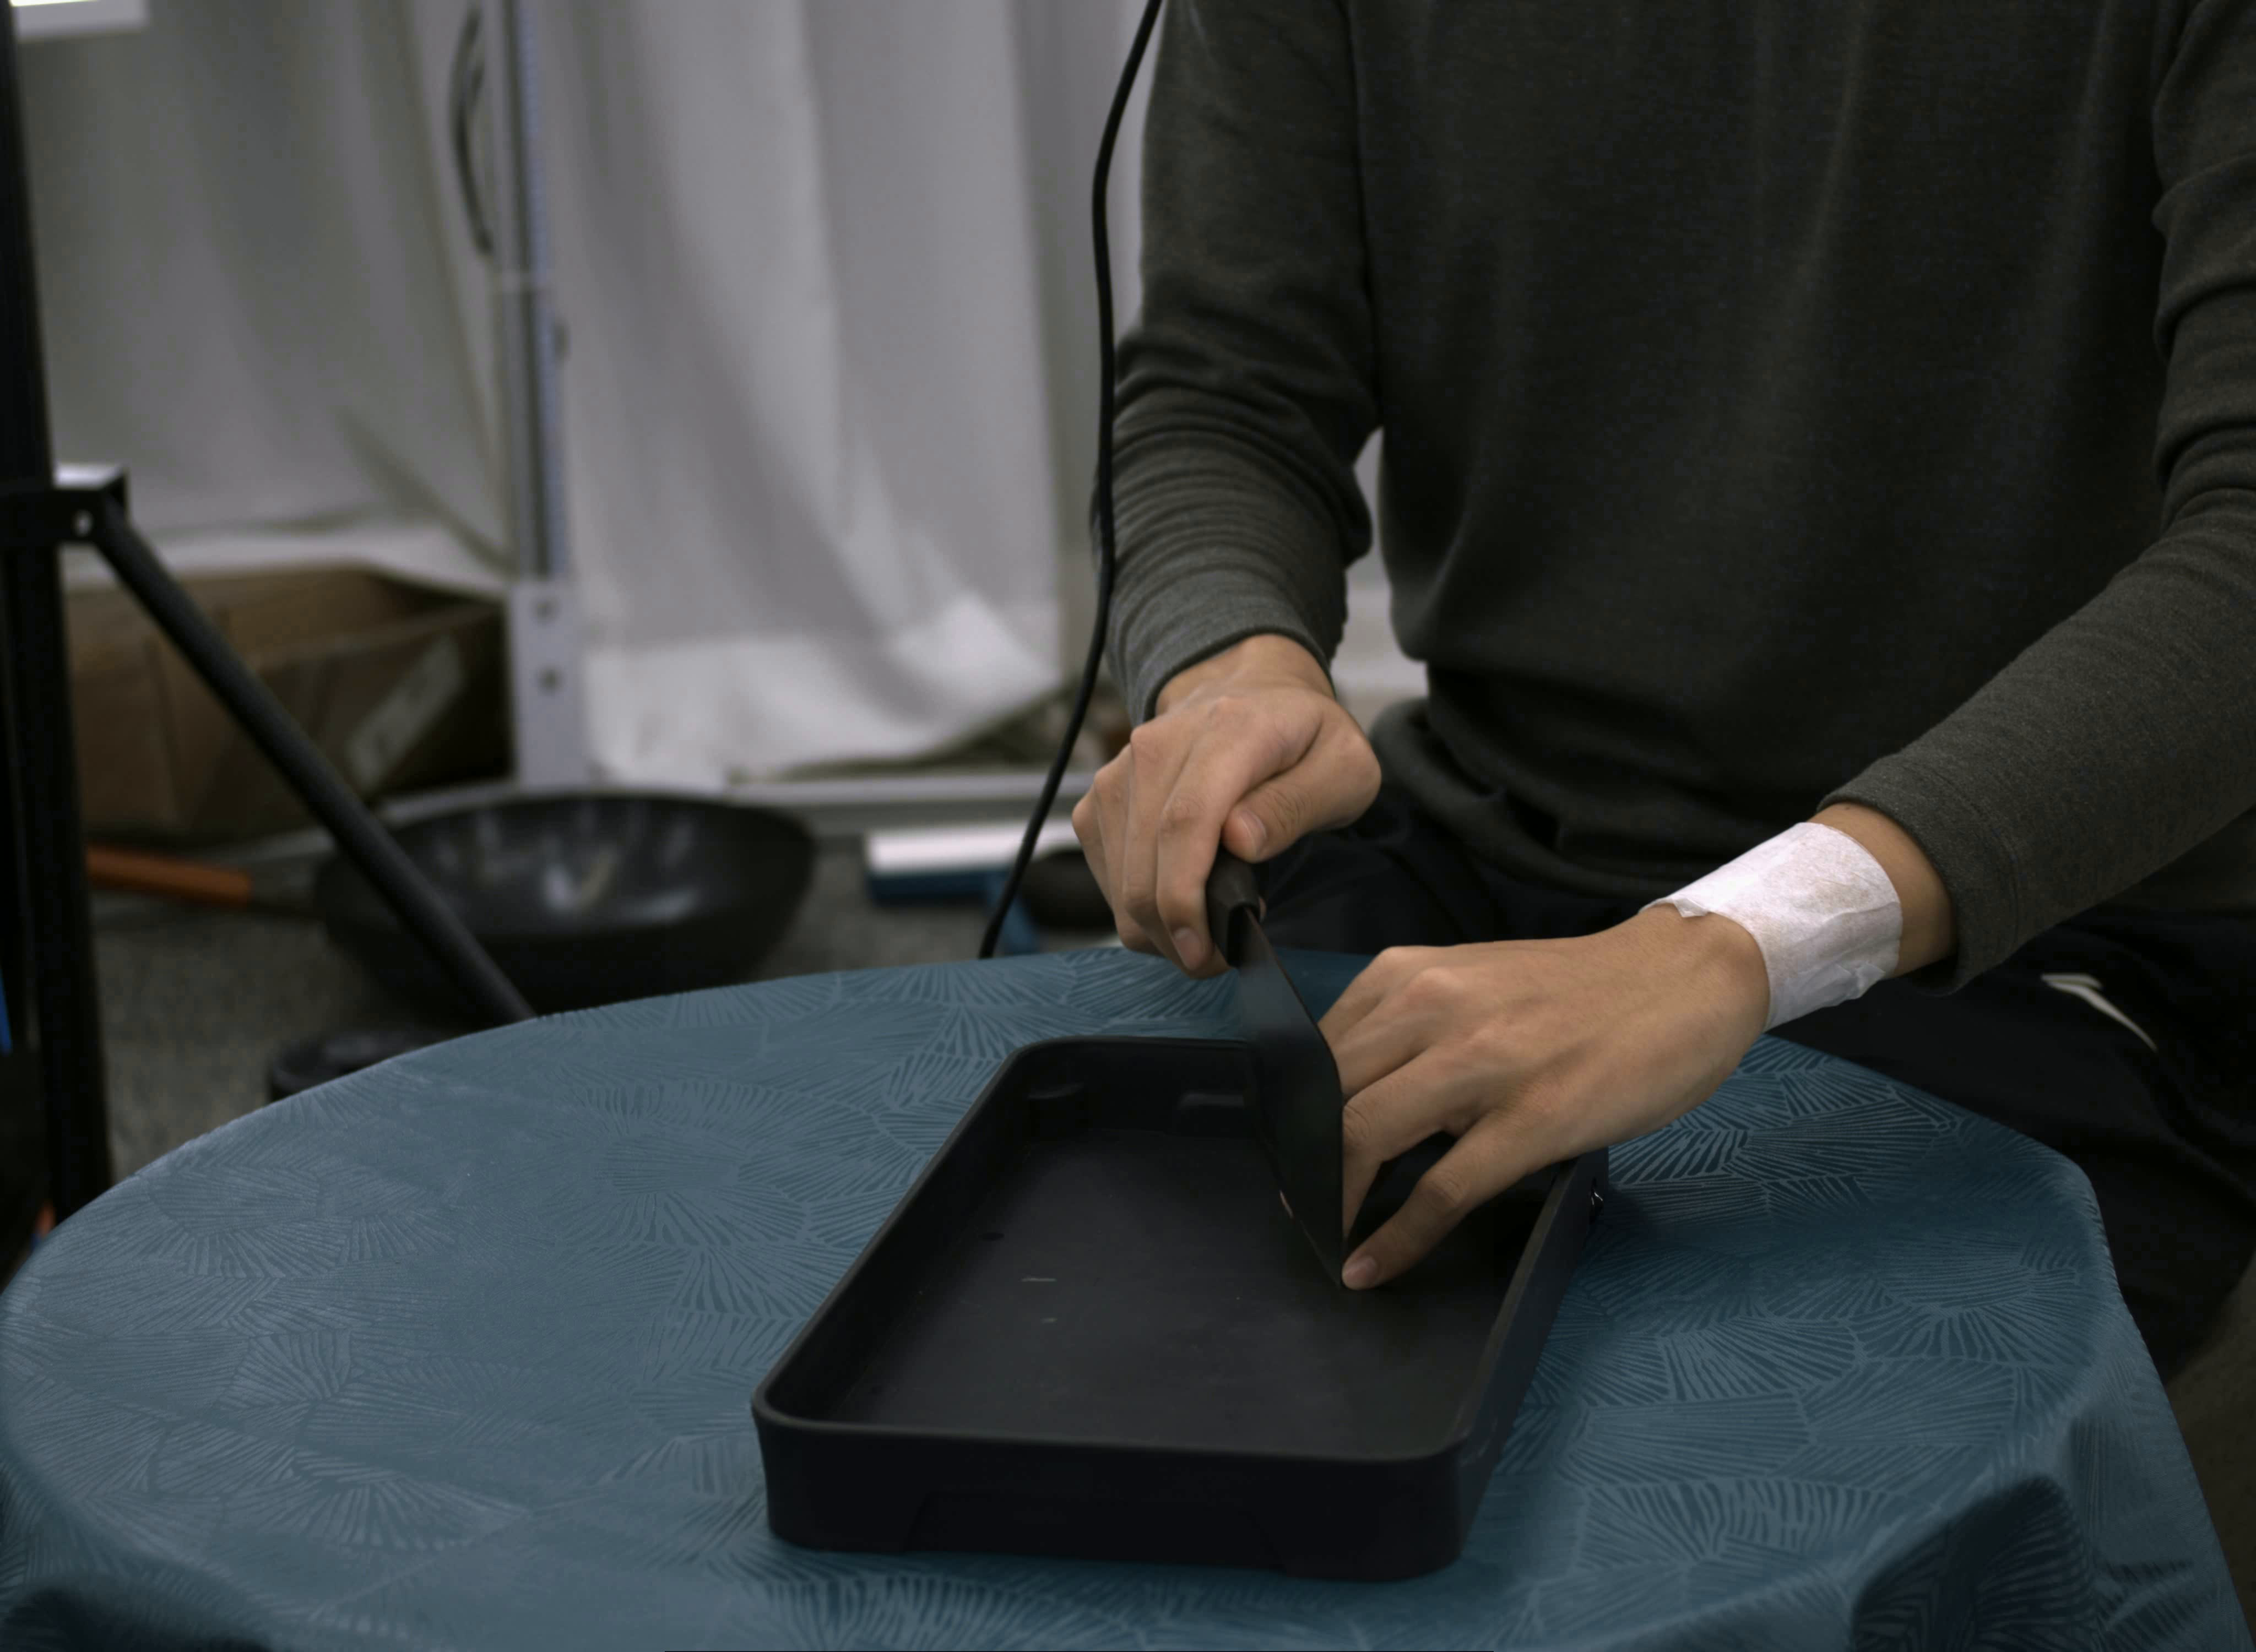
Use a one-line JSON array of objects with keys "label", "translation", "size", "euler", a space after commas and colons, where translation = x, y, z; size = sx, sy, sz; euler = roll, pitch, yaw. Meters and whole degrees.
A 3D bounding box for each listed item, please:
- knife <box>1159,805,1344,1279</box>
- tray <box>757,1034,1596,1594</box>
[{"label": "knife", "translation": [0.037, 0.053, 1.512], "size": [0.020, 0.081, 0.305], "euler": [-2, 18, -7]}, {"label": "tray", "translation": [0.022, 0.124, 1.434], "size": [0.185, 0.037, 0.316], "euler": [1, 16, 11]}]
